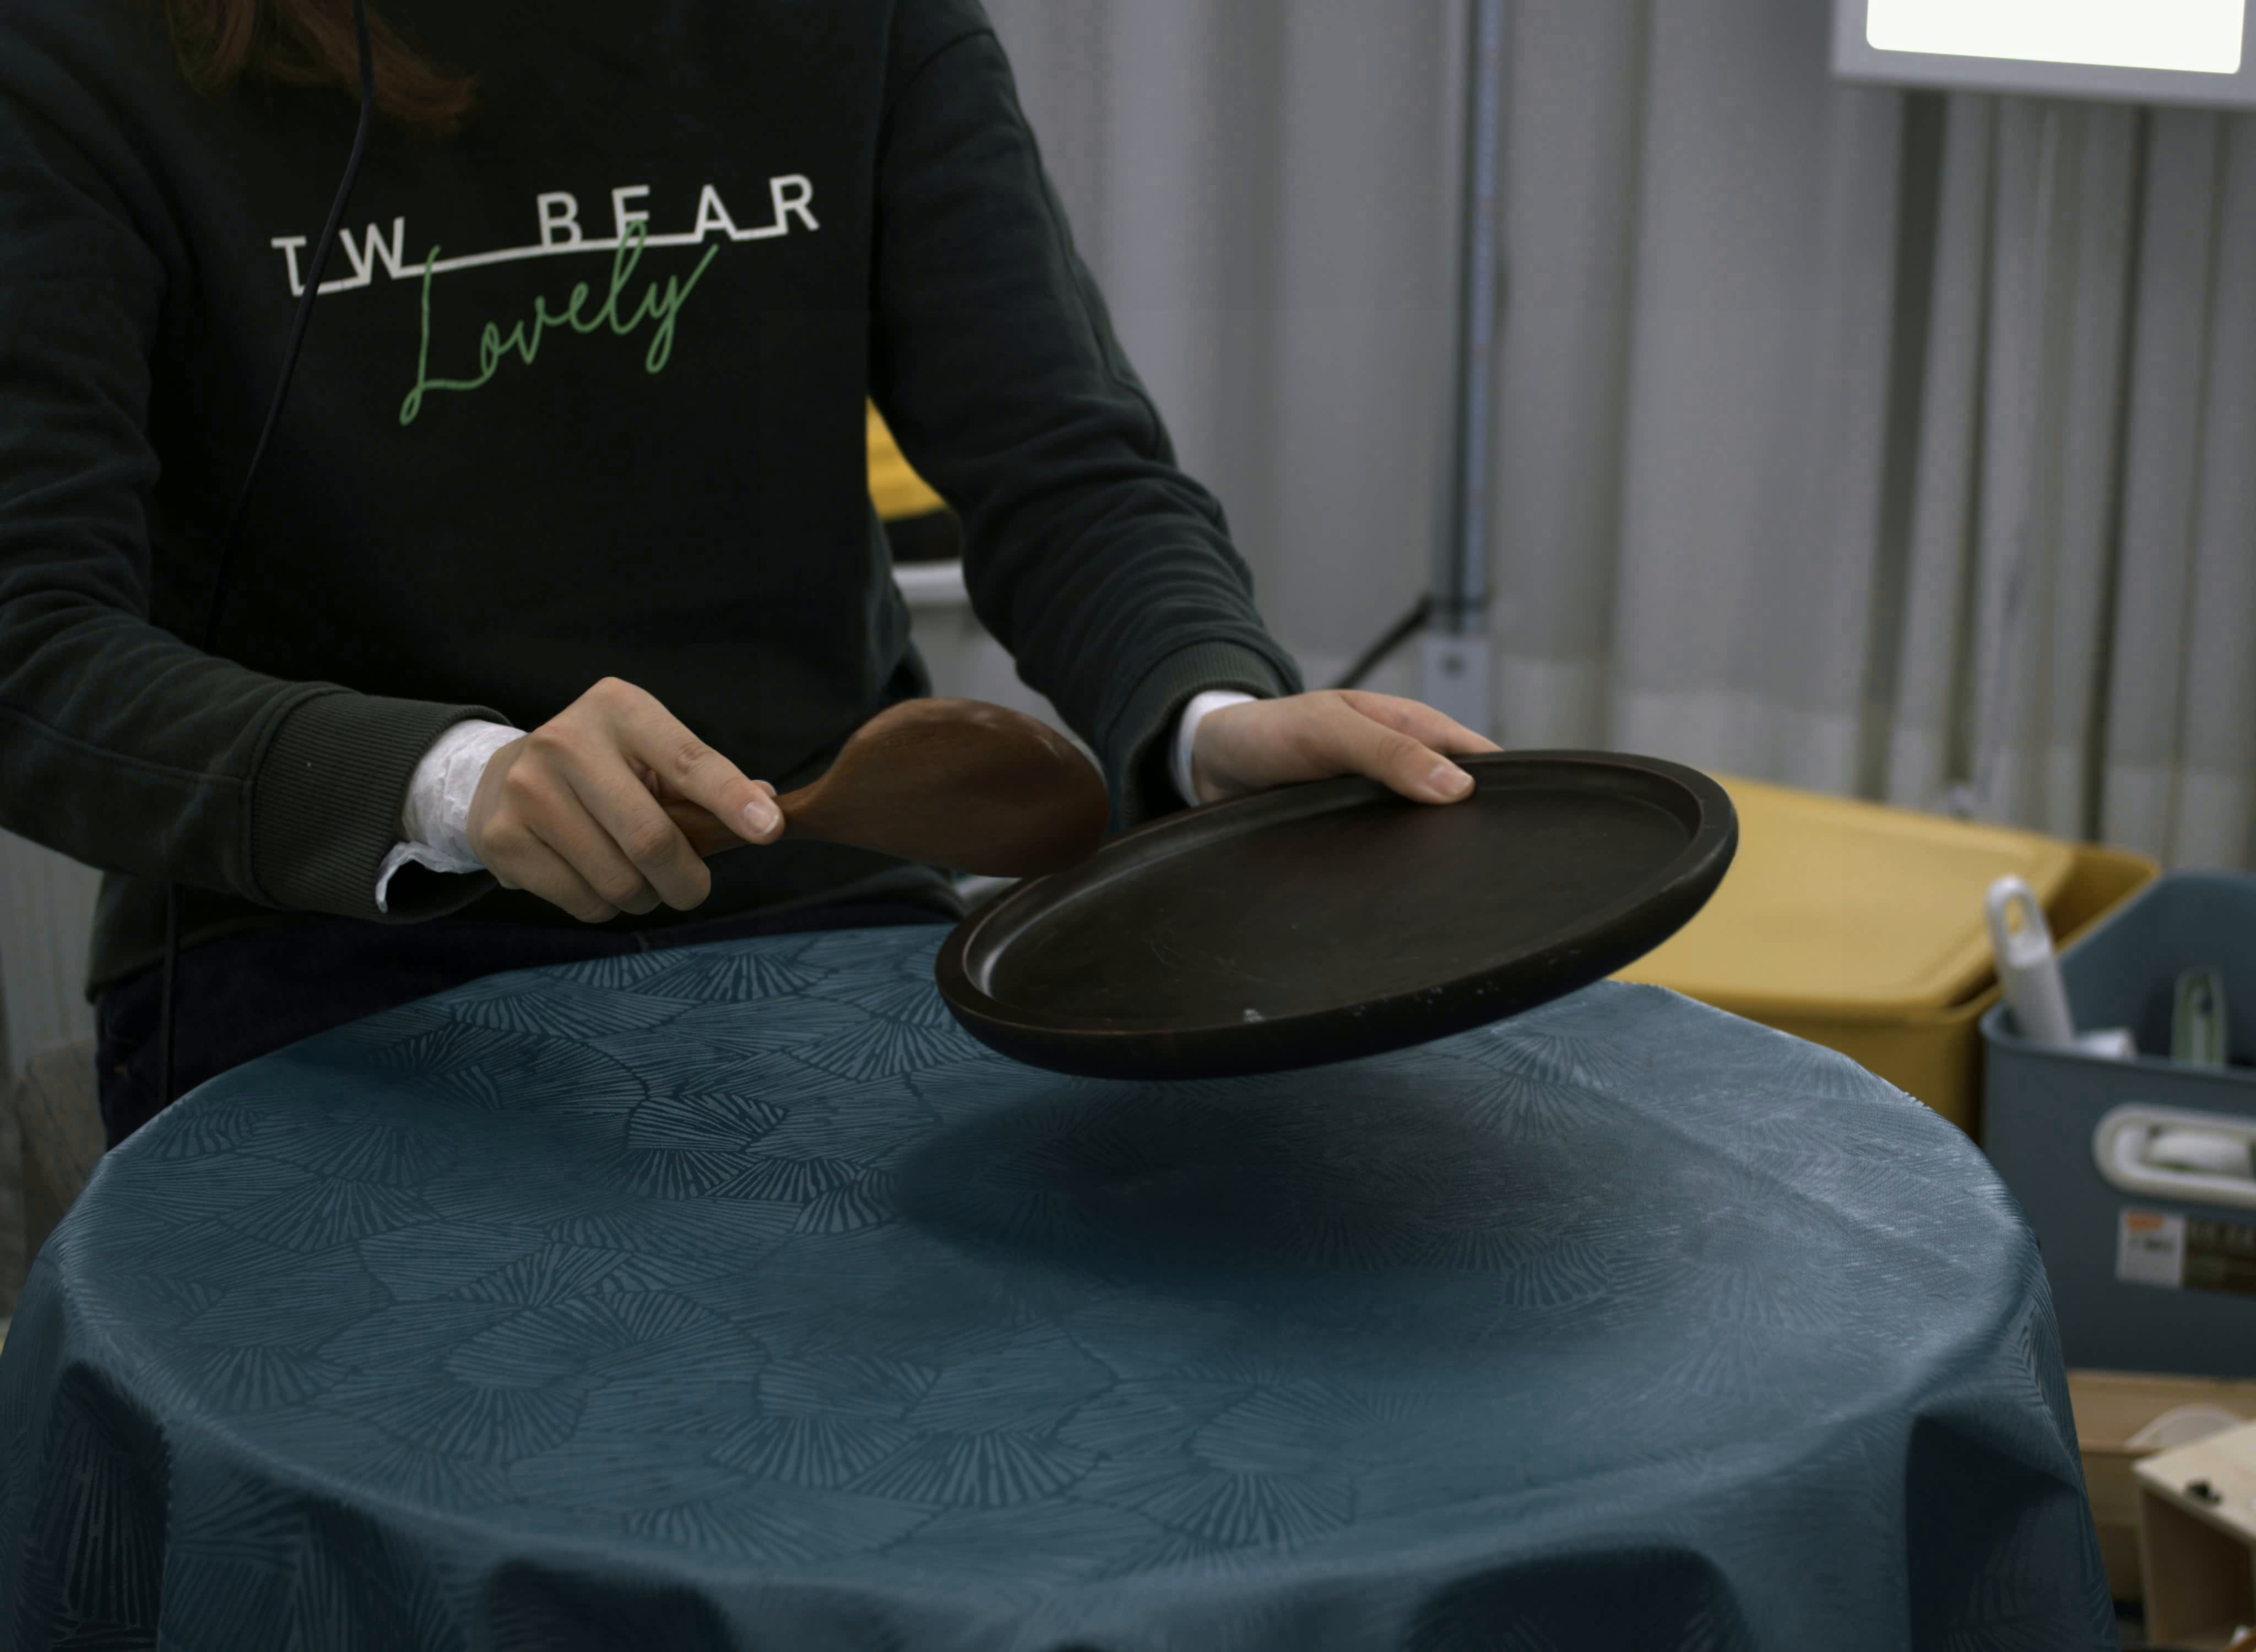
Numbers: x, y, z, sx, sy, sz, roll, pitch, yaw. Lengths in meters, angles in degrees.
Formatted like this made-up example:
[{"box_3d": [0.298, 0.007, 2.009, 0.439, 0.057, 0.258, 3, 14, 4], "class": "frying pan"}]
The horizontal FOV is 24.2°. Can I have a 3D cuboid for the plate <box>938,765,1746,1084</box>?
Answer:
[{"box_3d": [0.066, 0.028, 1.630, 0.254, 0.029, 0.253, -10, 17, 4], "class": "plate"}]

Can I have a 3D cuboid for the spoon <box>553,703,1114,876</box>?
[{"box_3d": [-0.095, -0.003, 1.601, 0.213, 0.076, 0.017, -5, 48, 39], "class": "spoon"}]
